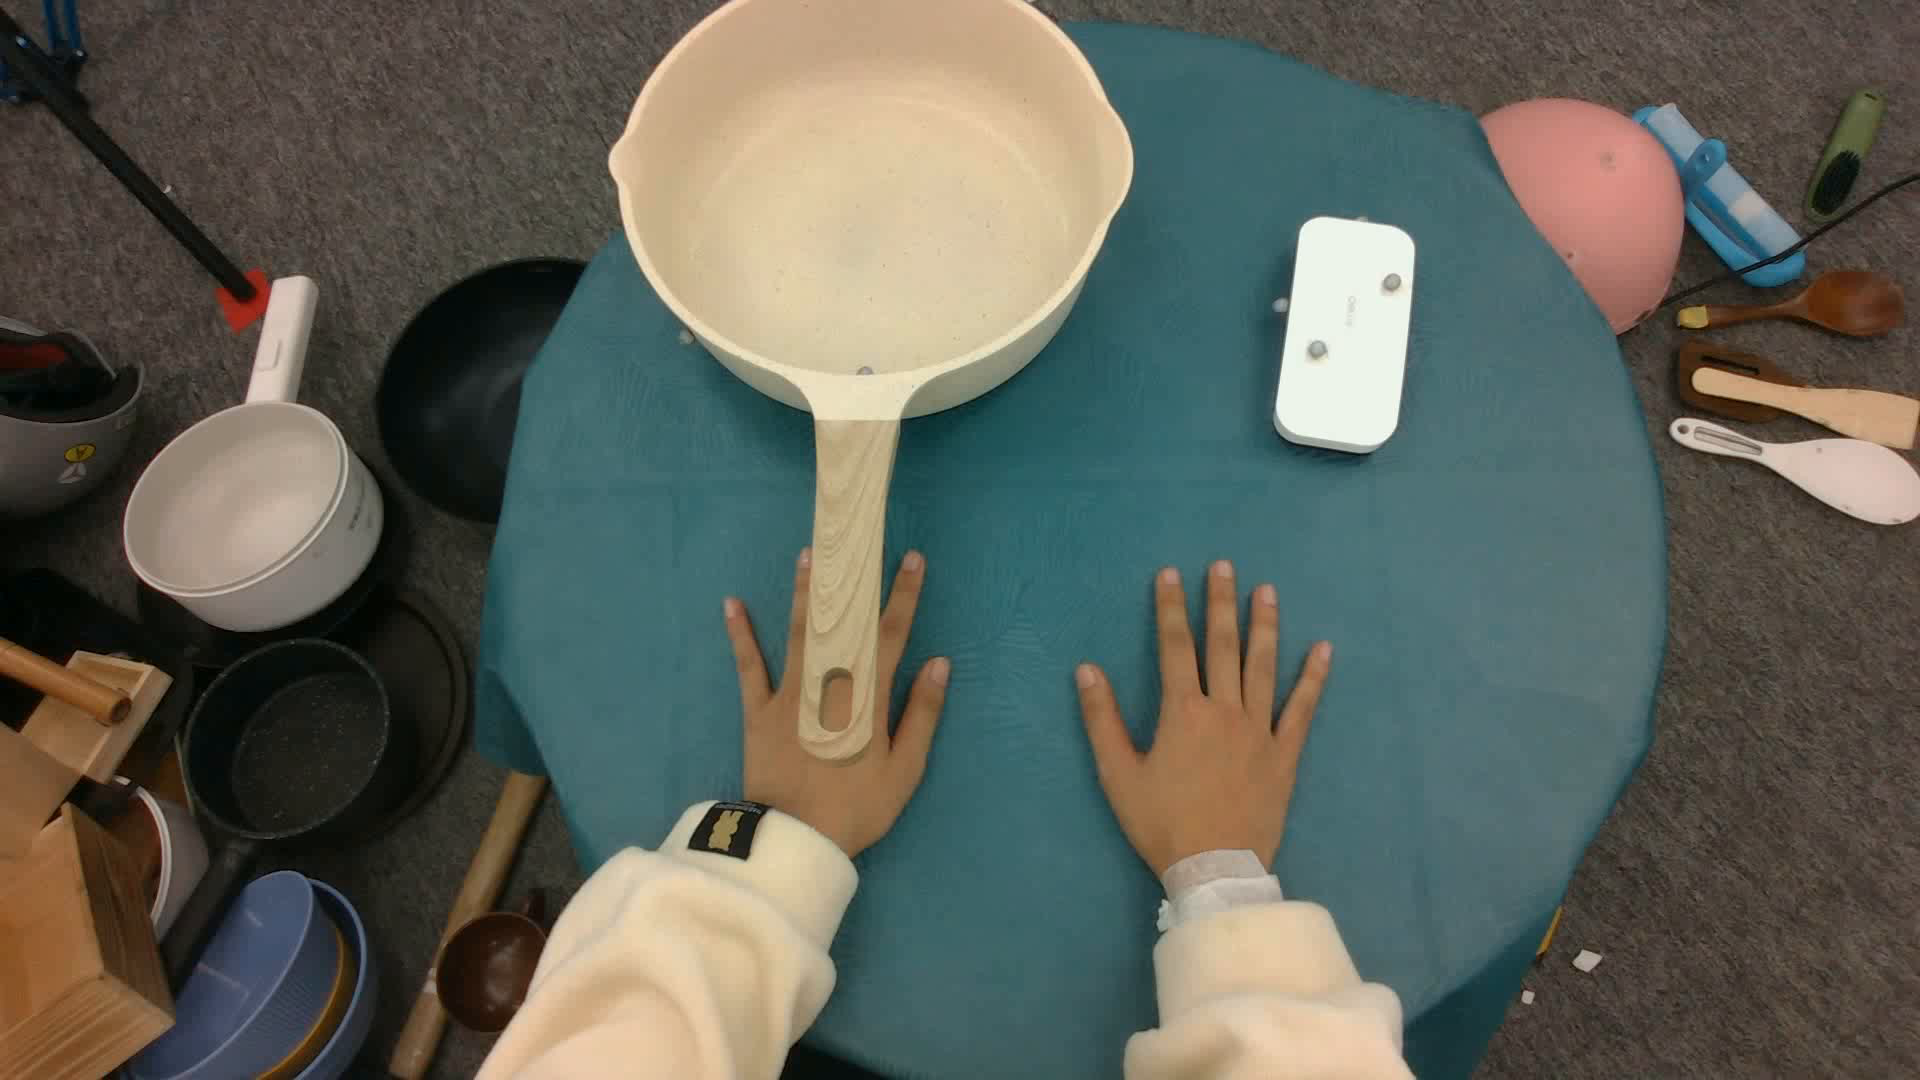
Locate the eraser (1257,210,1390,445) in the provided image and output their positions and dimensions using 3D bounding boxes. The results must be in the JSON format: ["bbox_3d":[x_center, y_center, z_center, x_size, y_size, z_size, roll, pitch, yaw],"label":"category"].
[{"bbox_3d":[0.191,-0.114,0.728,0.063,0.034,0.132,9,69,7],"label":"eraser"}]

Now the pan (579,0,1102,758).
[{"bbox_3d":[-0.059,-0.100,0.687,0.263,0.101,0.436,0,69,-1],"label":"pan"}]
